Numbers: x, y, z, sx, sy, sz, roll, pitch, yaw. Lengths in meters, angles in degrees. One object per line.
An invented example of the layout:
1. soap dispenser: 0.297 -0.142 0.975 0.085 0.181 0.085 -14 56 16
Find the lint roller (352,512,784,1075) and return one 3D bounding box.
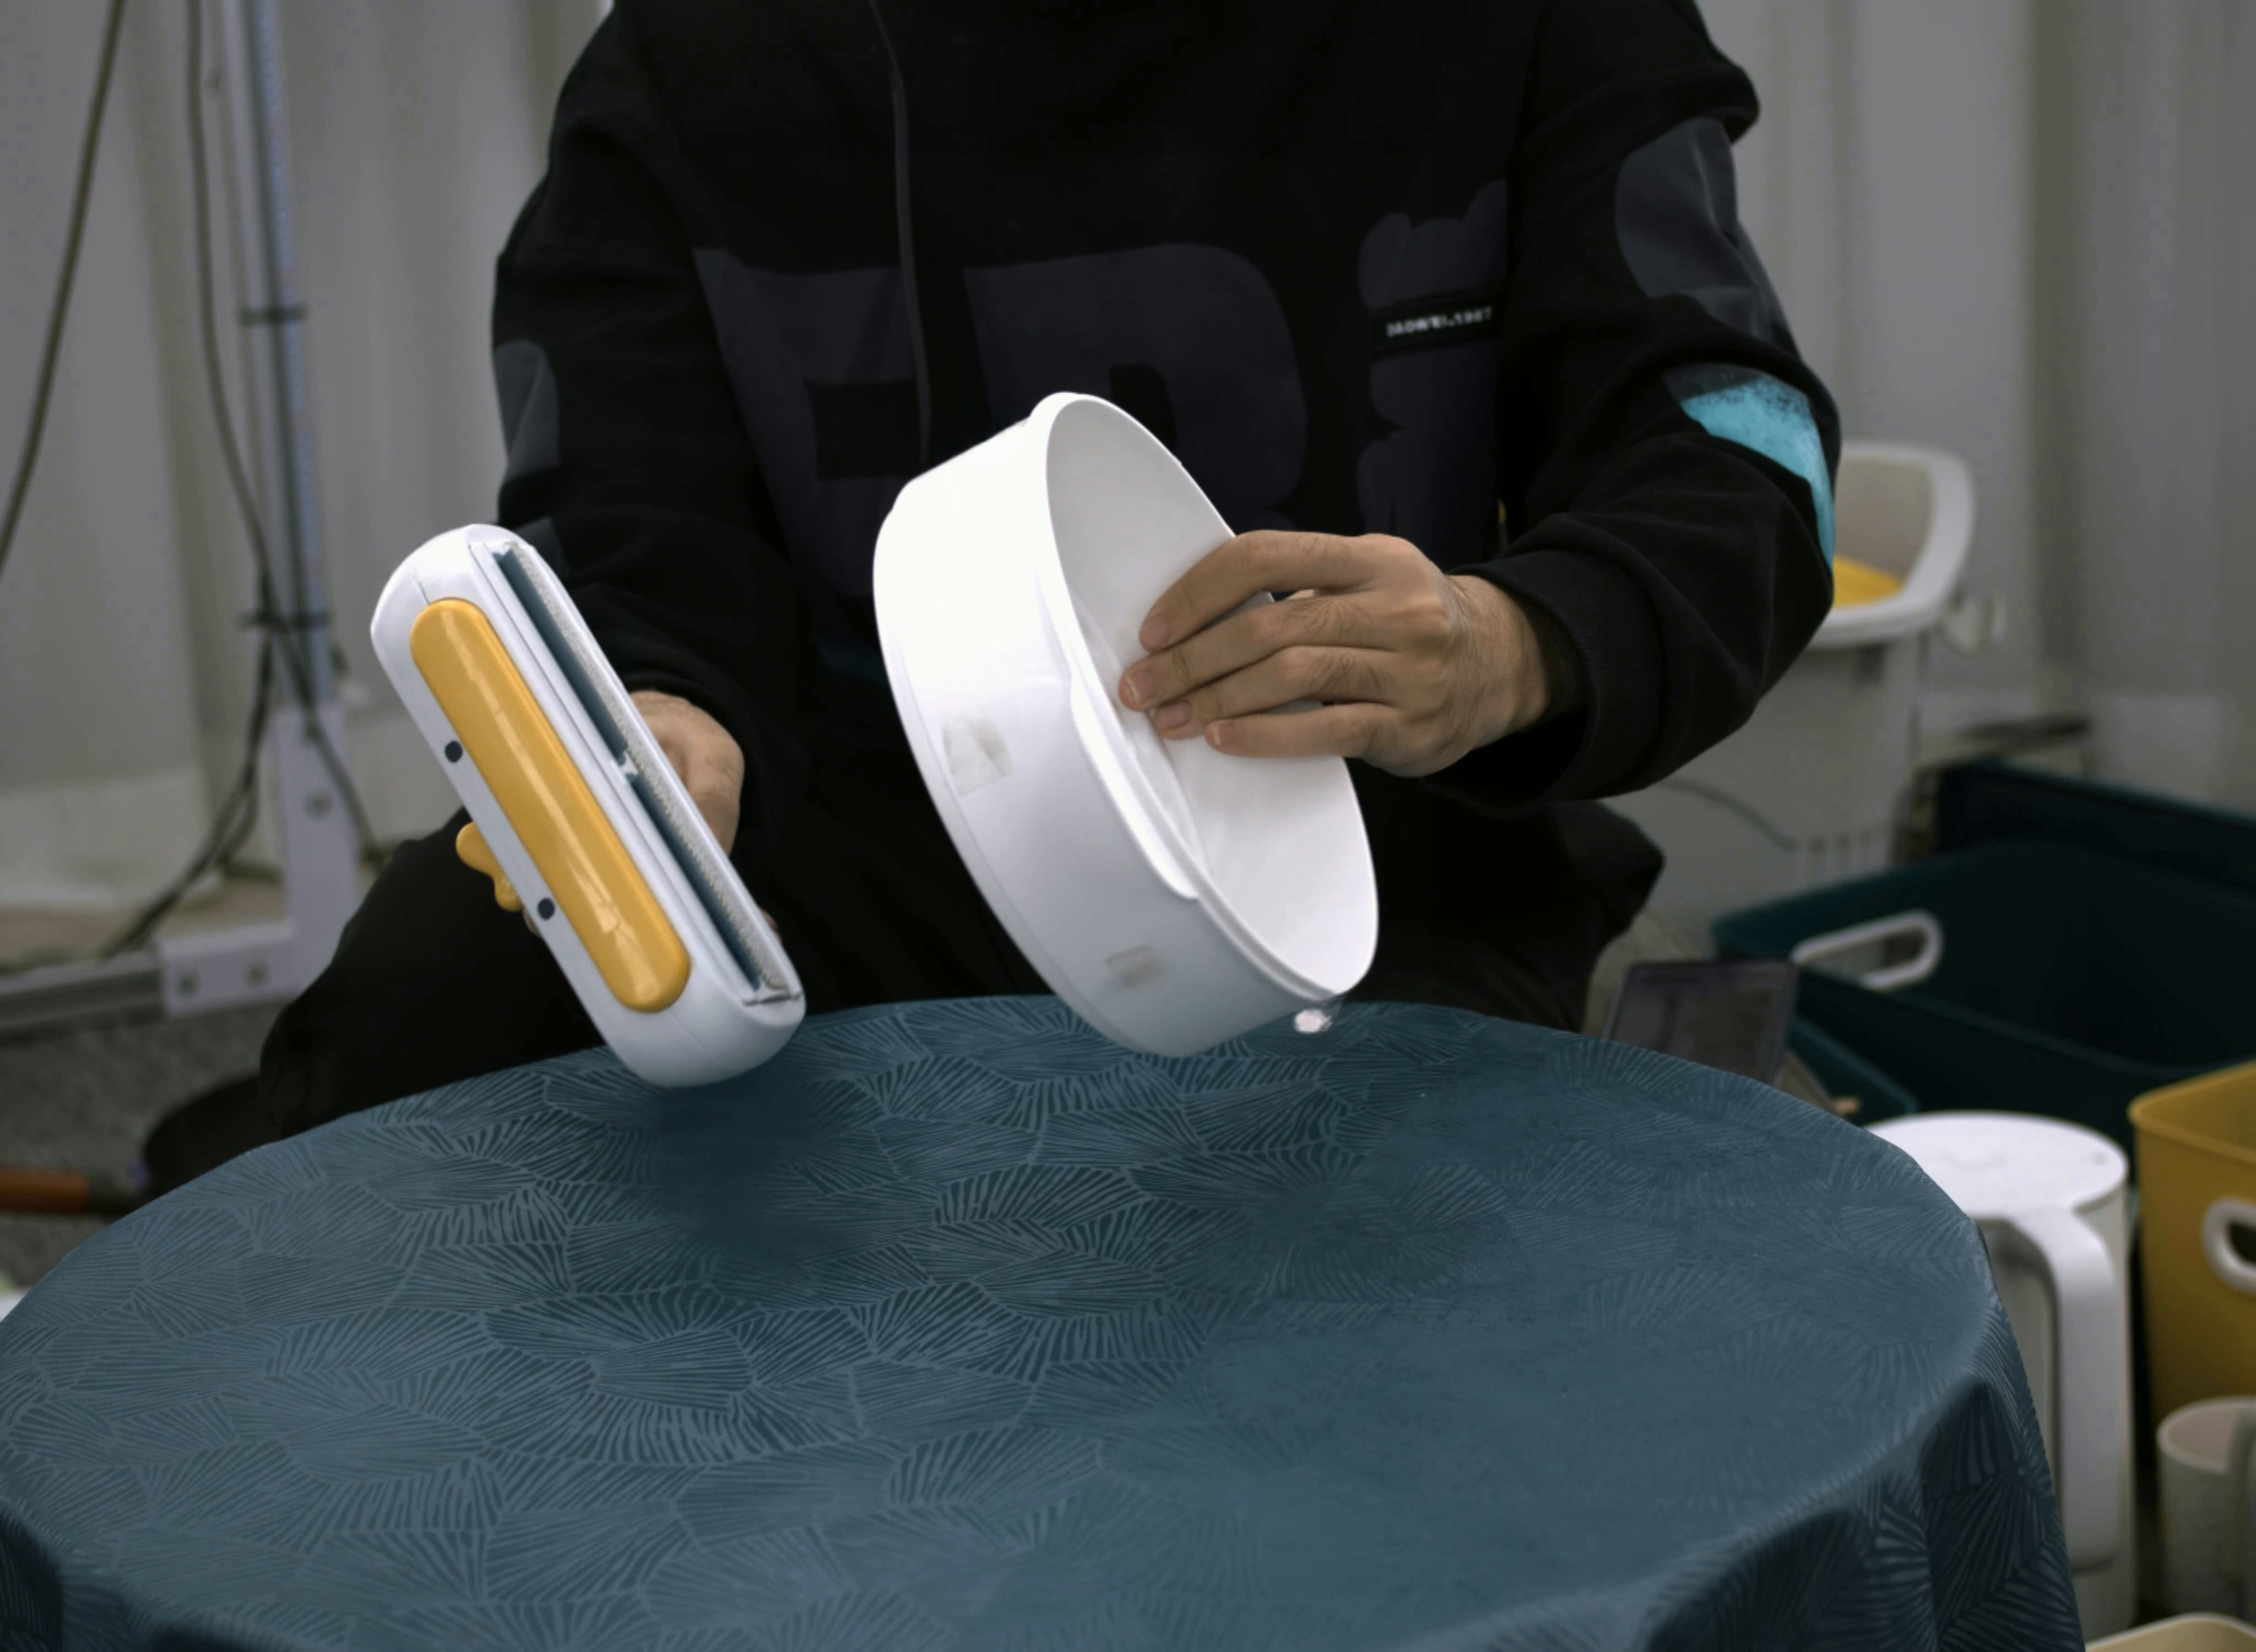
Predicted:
1. lint roller: -0.162 0.000 1.751 0.074 0.194 0.191 -38 -15 9

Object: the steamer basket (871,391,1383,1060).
1. steamer basket: -0.001 -0.027 1.637 0.069 0.201 0.232 -27 9 18
